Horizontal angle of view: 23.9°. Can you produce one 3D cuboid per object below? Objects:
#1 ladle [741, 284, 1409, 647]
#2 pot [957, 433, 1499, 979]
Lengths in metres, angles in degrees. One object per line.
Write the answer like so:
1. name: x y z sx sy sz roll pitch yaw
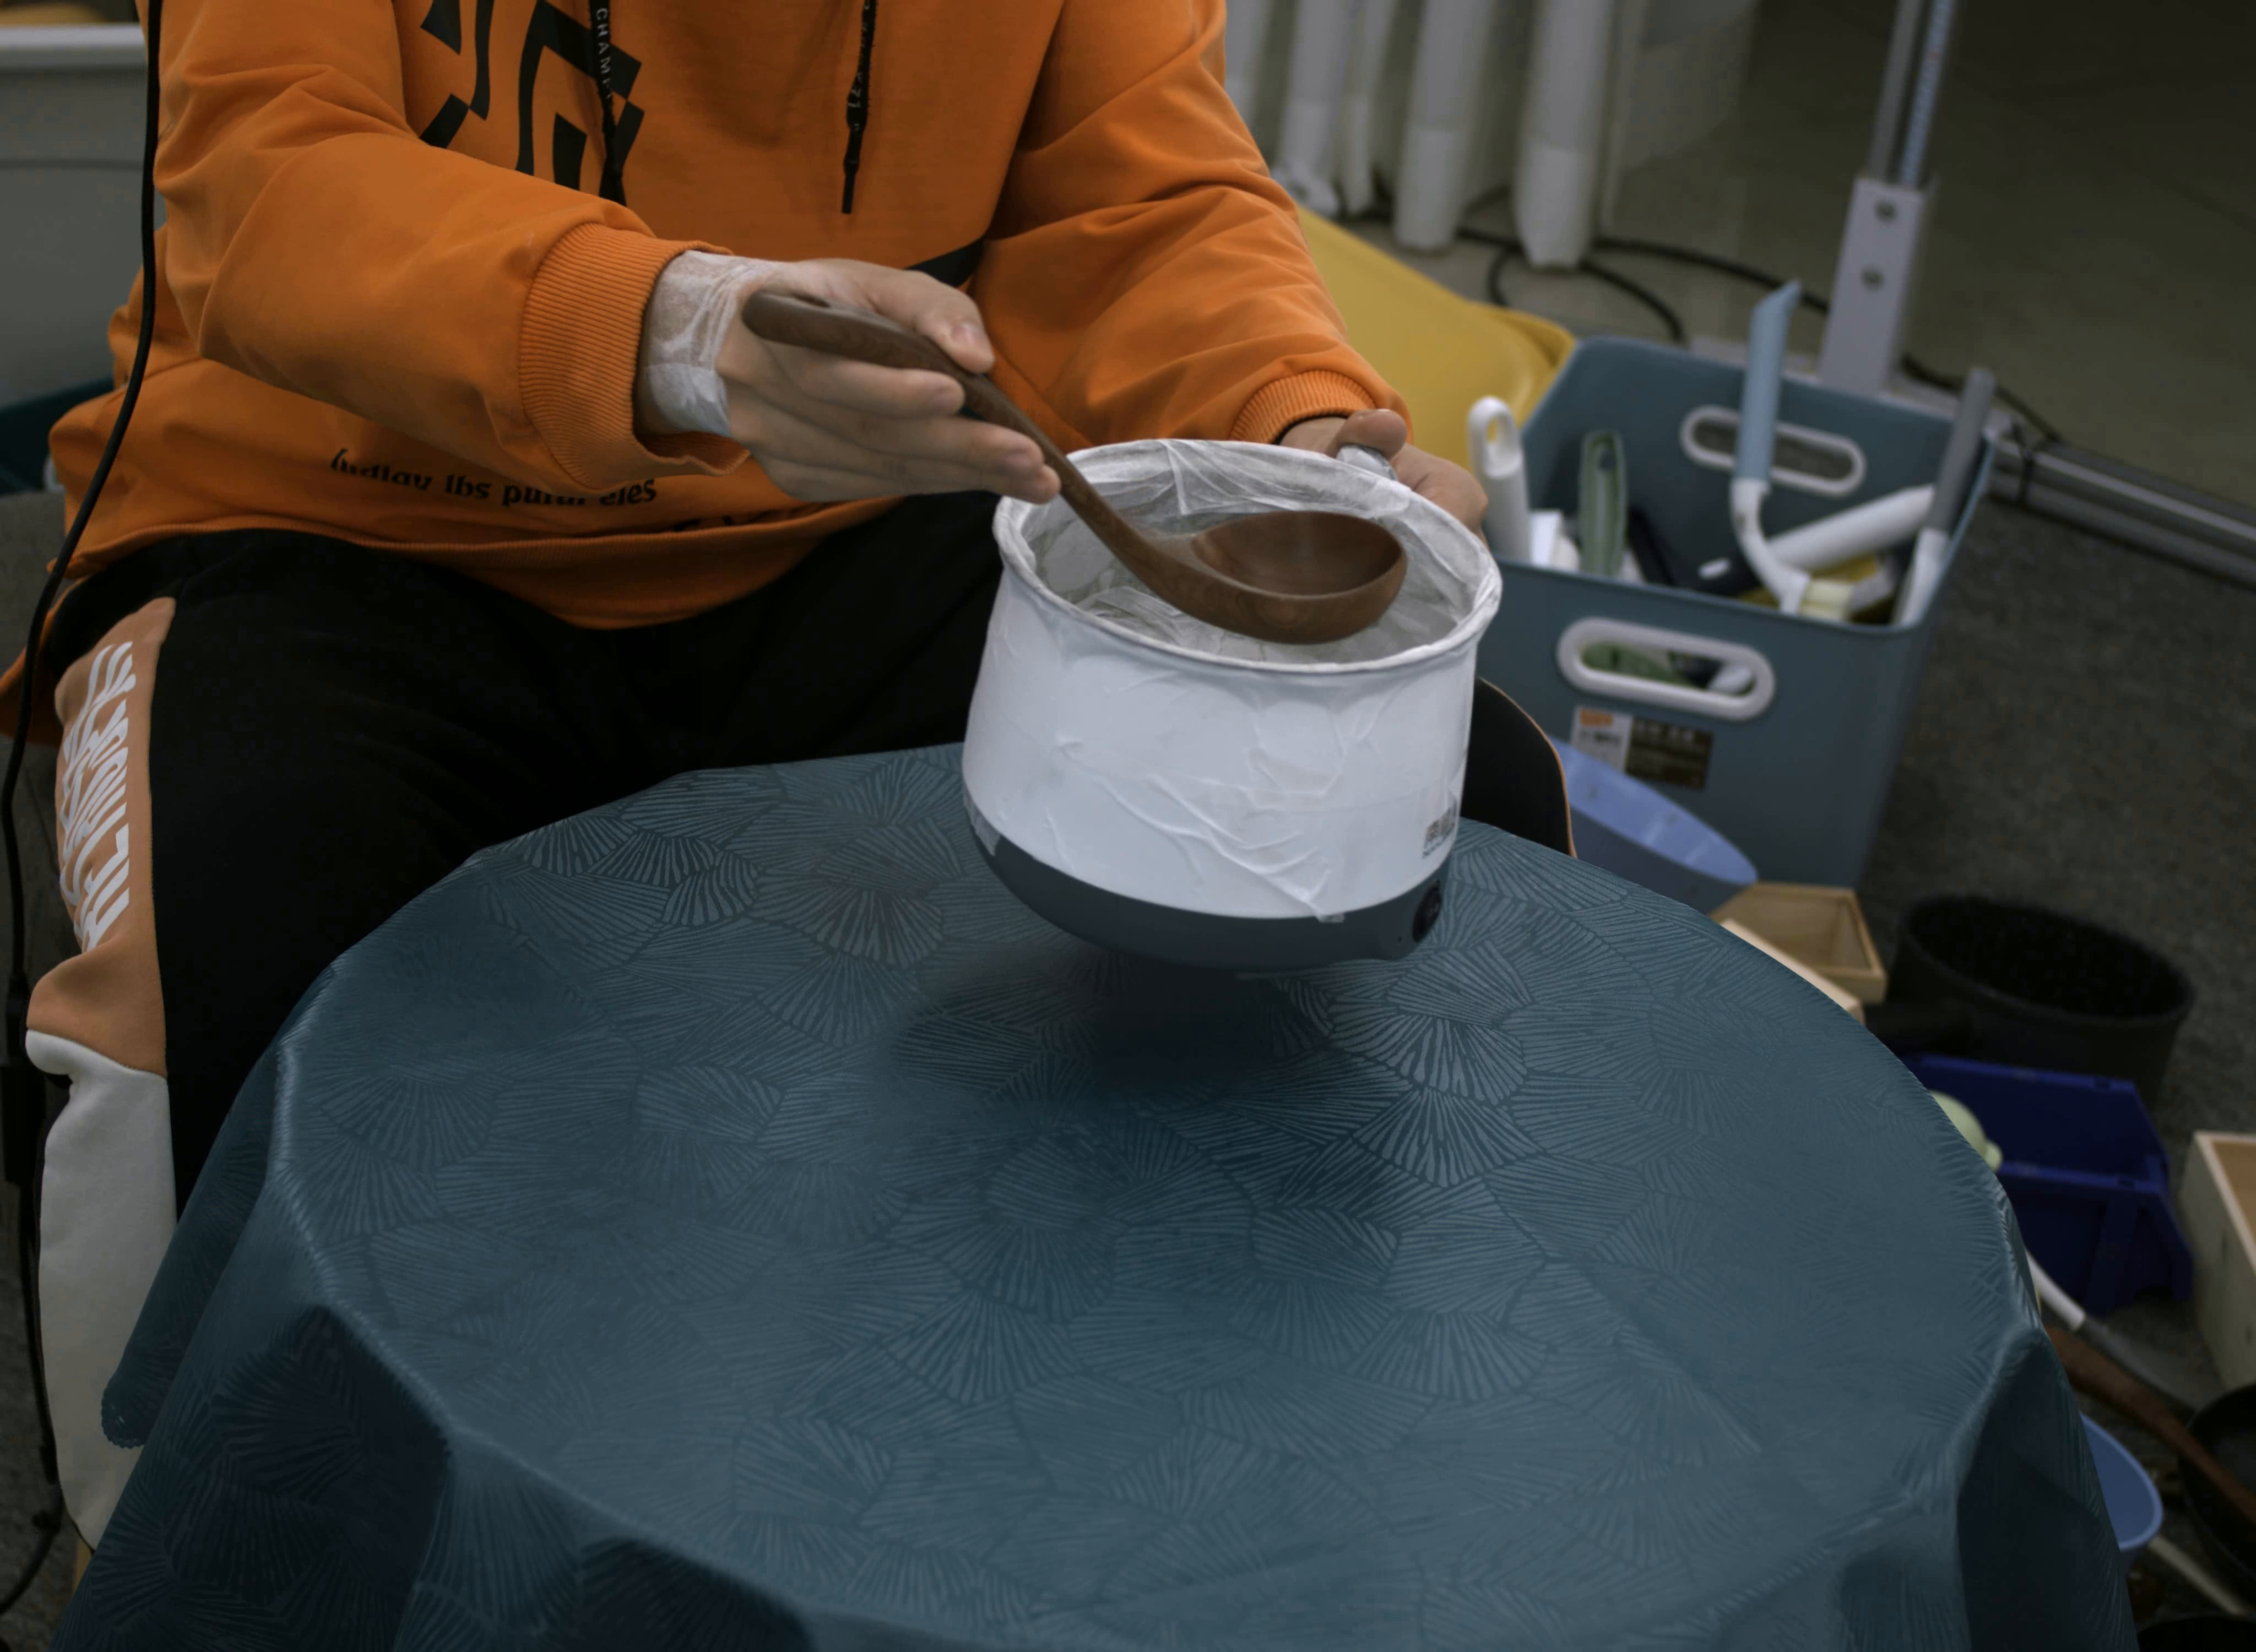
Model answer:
1. ladle: -0.014 -0.130 1.766 0.258 0.065 0.077 33 3 -30
2. pot: 0.043 -0.052 1.887 0.179 0.136 0.234 19 30 17
